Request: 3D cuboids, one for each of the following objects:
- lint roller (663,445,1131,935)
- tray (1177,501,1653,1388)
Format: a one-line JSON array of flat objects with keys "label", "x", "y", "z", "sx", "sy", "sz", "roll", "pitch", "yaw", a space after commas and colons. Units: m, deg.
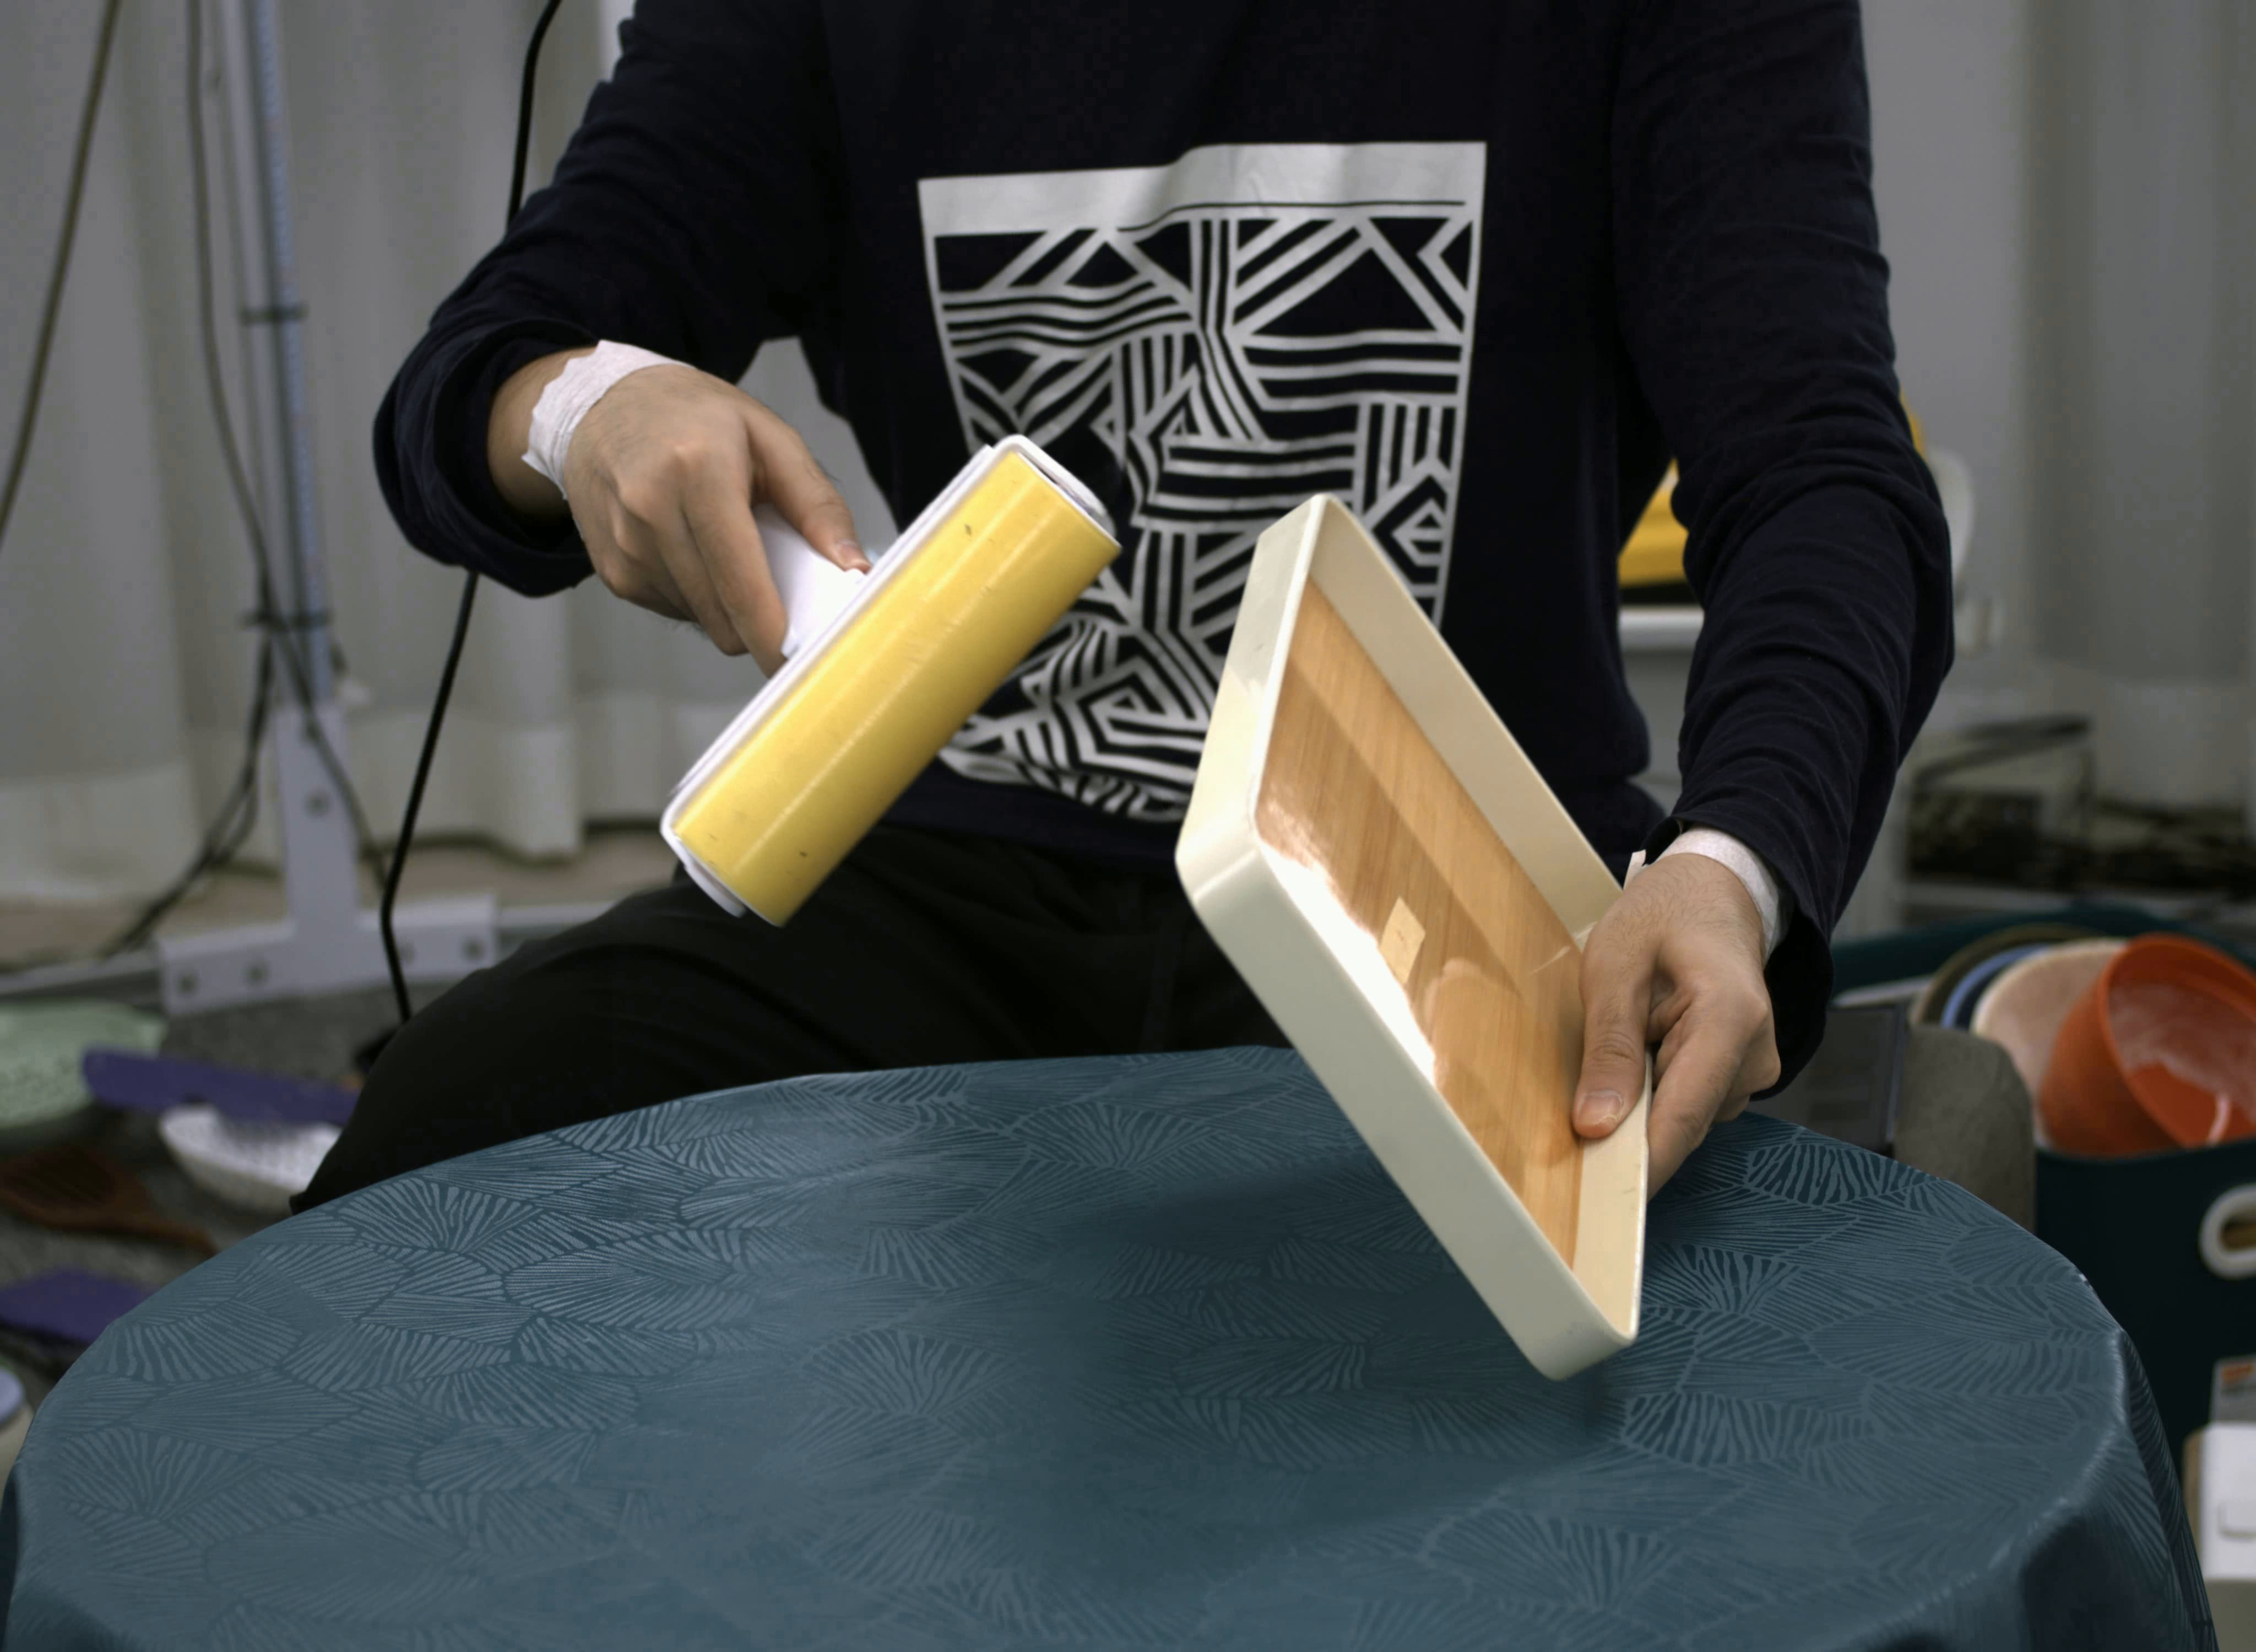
[{"label": "lint roller", "x": -0.108, "y": -0.074, "z": 1.771, "sx": 0.194, "sy": 0.174, "sz": 0.051, "roll": 41, "pitch": -1, "yaw": 43}, {"label": "tray", "x": 0.090, "y": 0.027, "z": 1.611, "sx": 0.027, "sy": 0.190, "sz": 0.303, "roll": -33, "pitch": 14, "yaw": 17}]
